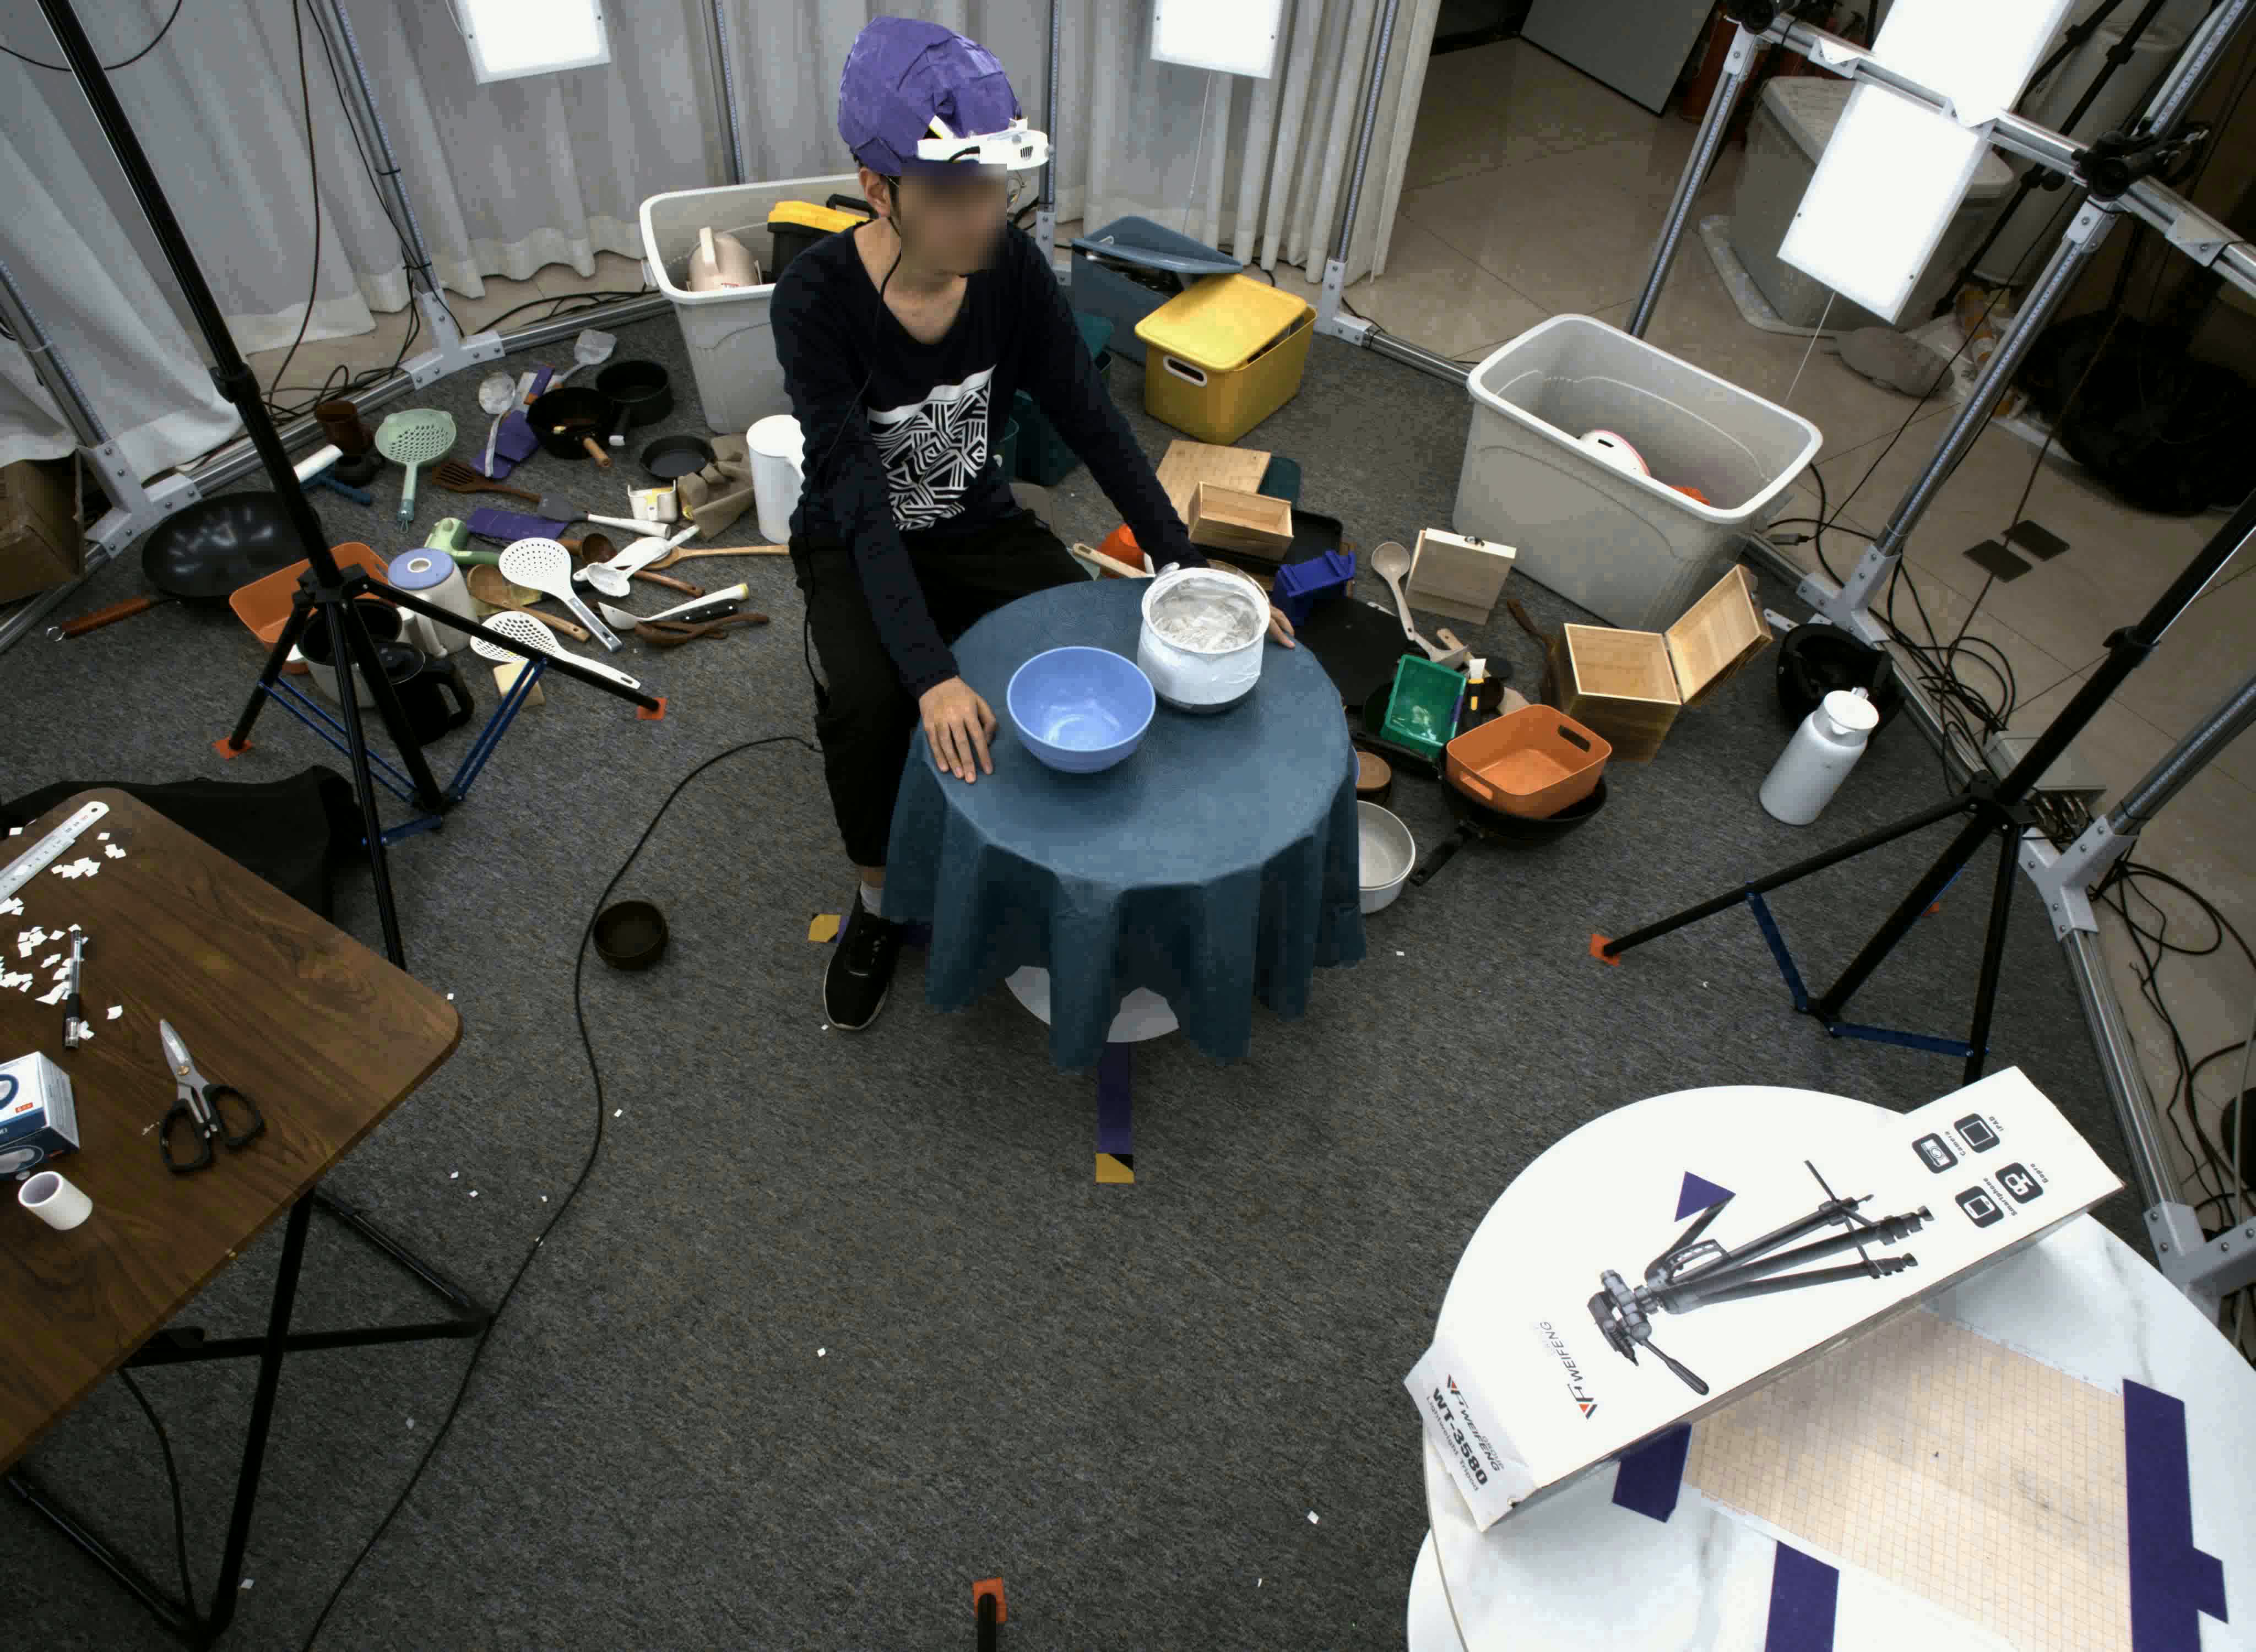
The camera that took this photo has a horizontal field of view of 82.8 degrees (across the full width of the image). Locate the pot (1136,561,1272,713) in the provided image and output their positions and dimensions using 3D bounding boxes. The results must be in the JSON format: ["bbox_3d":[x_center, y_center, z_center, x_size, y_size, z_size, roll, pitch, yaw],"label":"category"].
[{"bbox_3d":[0.091,-0.277,1.825,0.179,0.133,0.239,-17,53,-21],"label":"pot"}]

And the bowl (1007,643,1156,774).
[{"bbox_3d":[-0.063,-0.143,1.721,0.196,0.093,0.201,2,54,-2],"label":"bowl"}]
